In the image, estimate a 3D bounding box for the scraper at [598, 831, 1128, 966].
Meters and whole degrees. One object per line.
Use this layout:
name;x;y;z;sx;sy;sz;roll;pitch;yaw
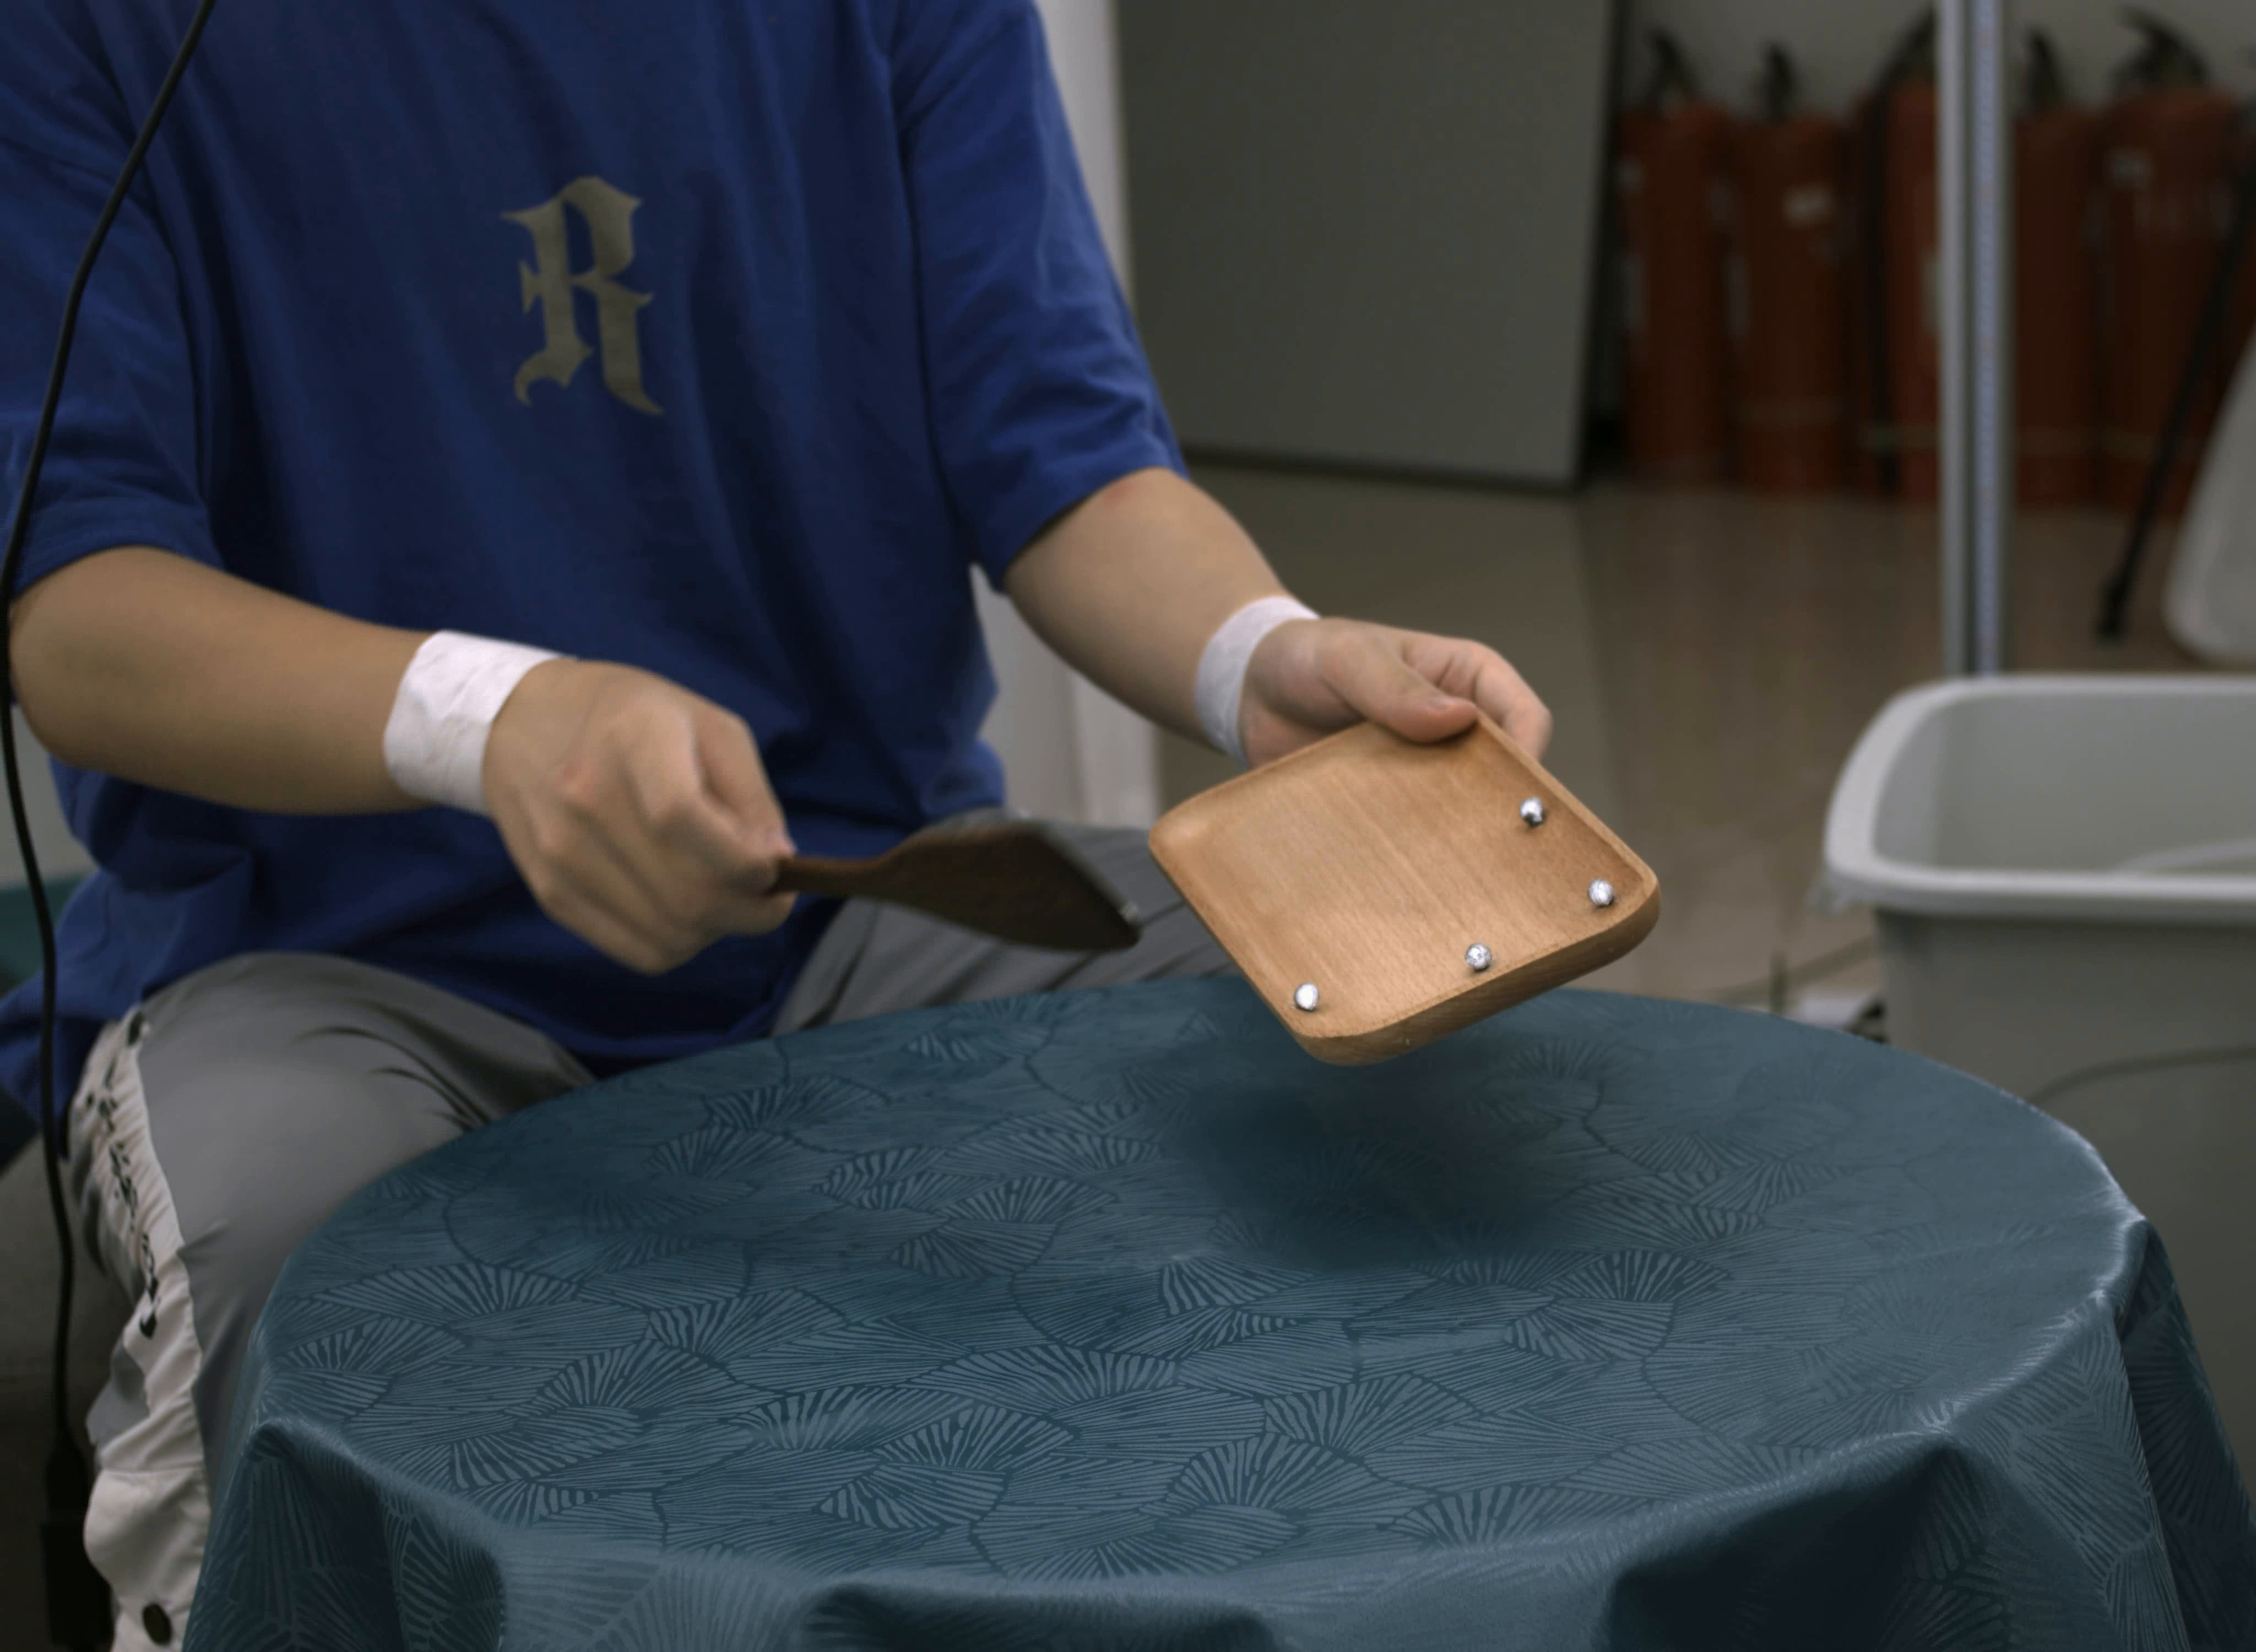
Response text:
scraper;-0.094;0.021;1.759;0.213;0.011;0.075;3;-29;41

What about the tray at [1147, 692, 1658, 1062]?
tray;0.088;0.014;1.785;0.129;0.023;0.252;-21;19;-5
